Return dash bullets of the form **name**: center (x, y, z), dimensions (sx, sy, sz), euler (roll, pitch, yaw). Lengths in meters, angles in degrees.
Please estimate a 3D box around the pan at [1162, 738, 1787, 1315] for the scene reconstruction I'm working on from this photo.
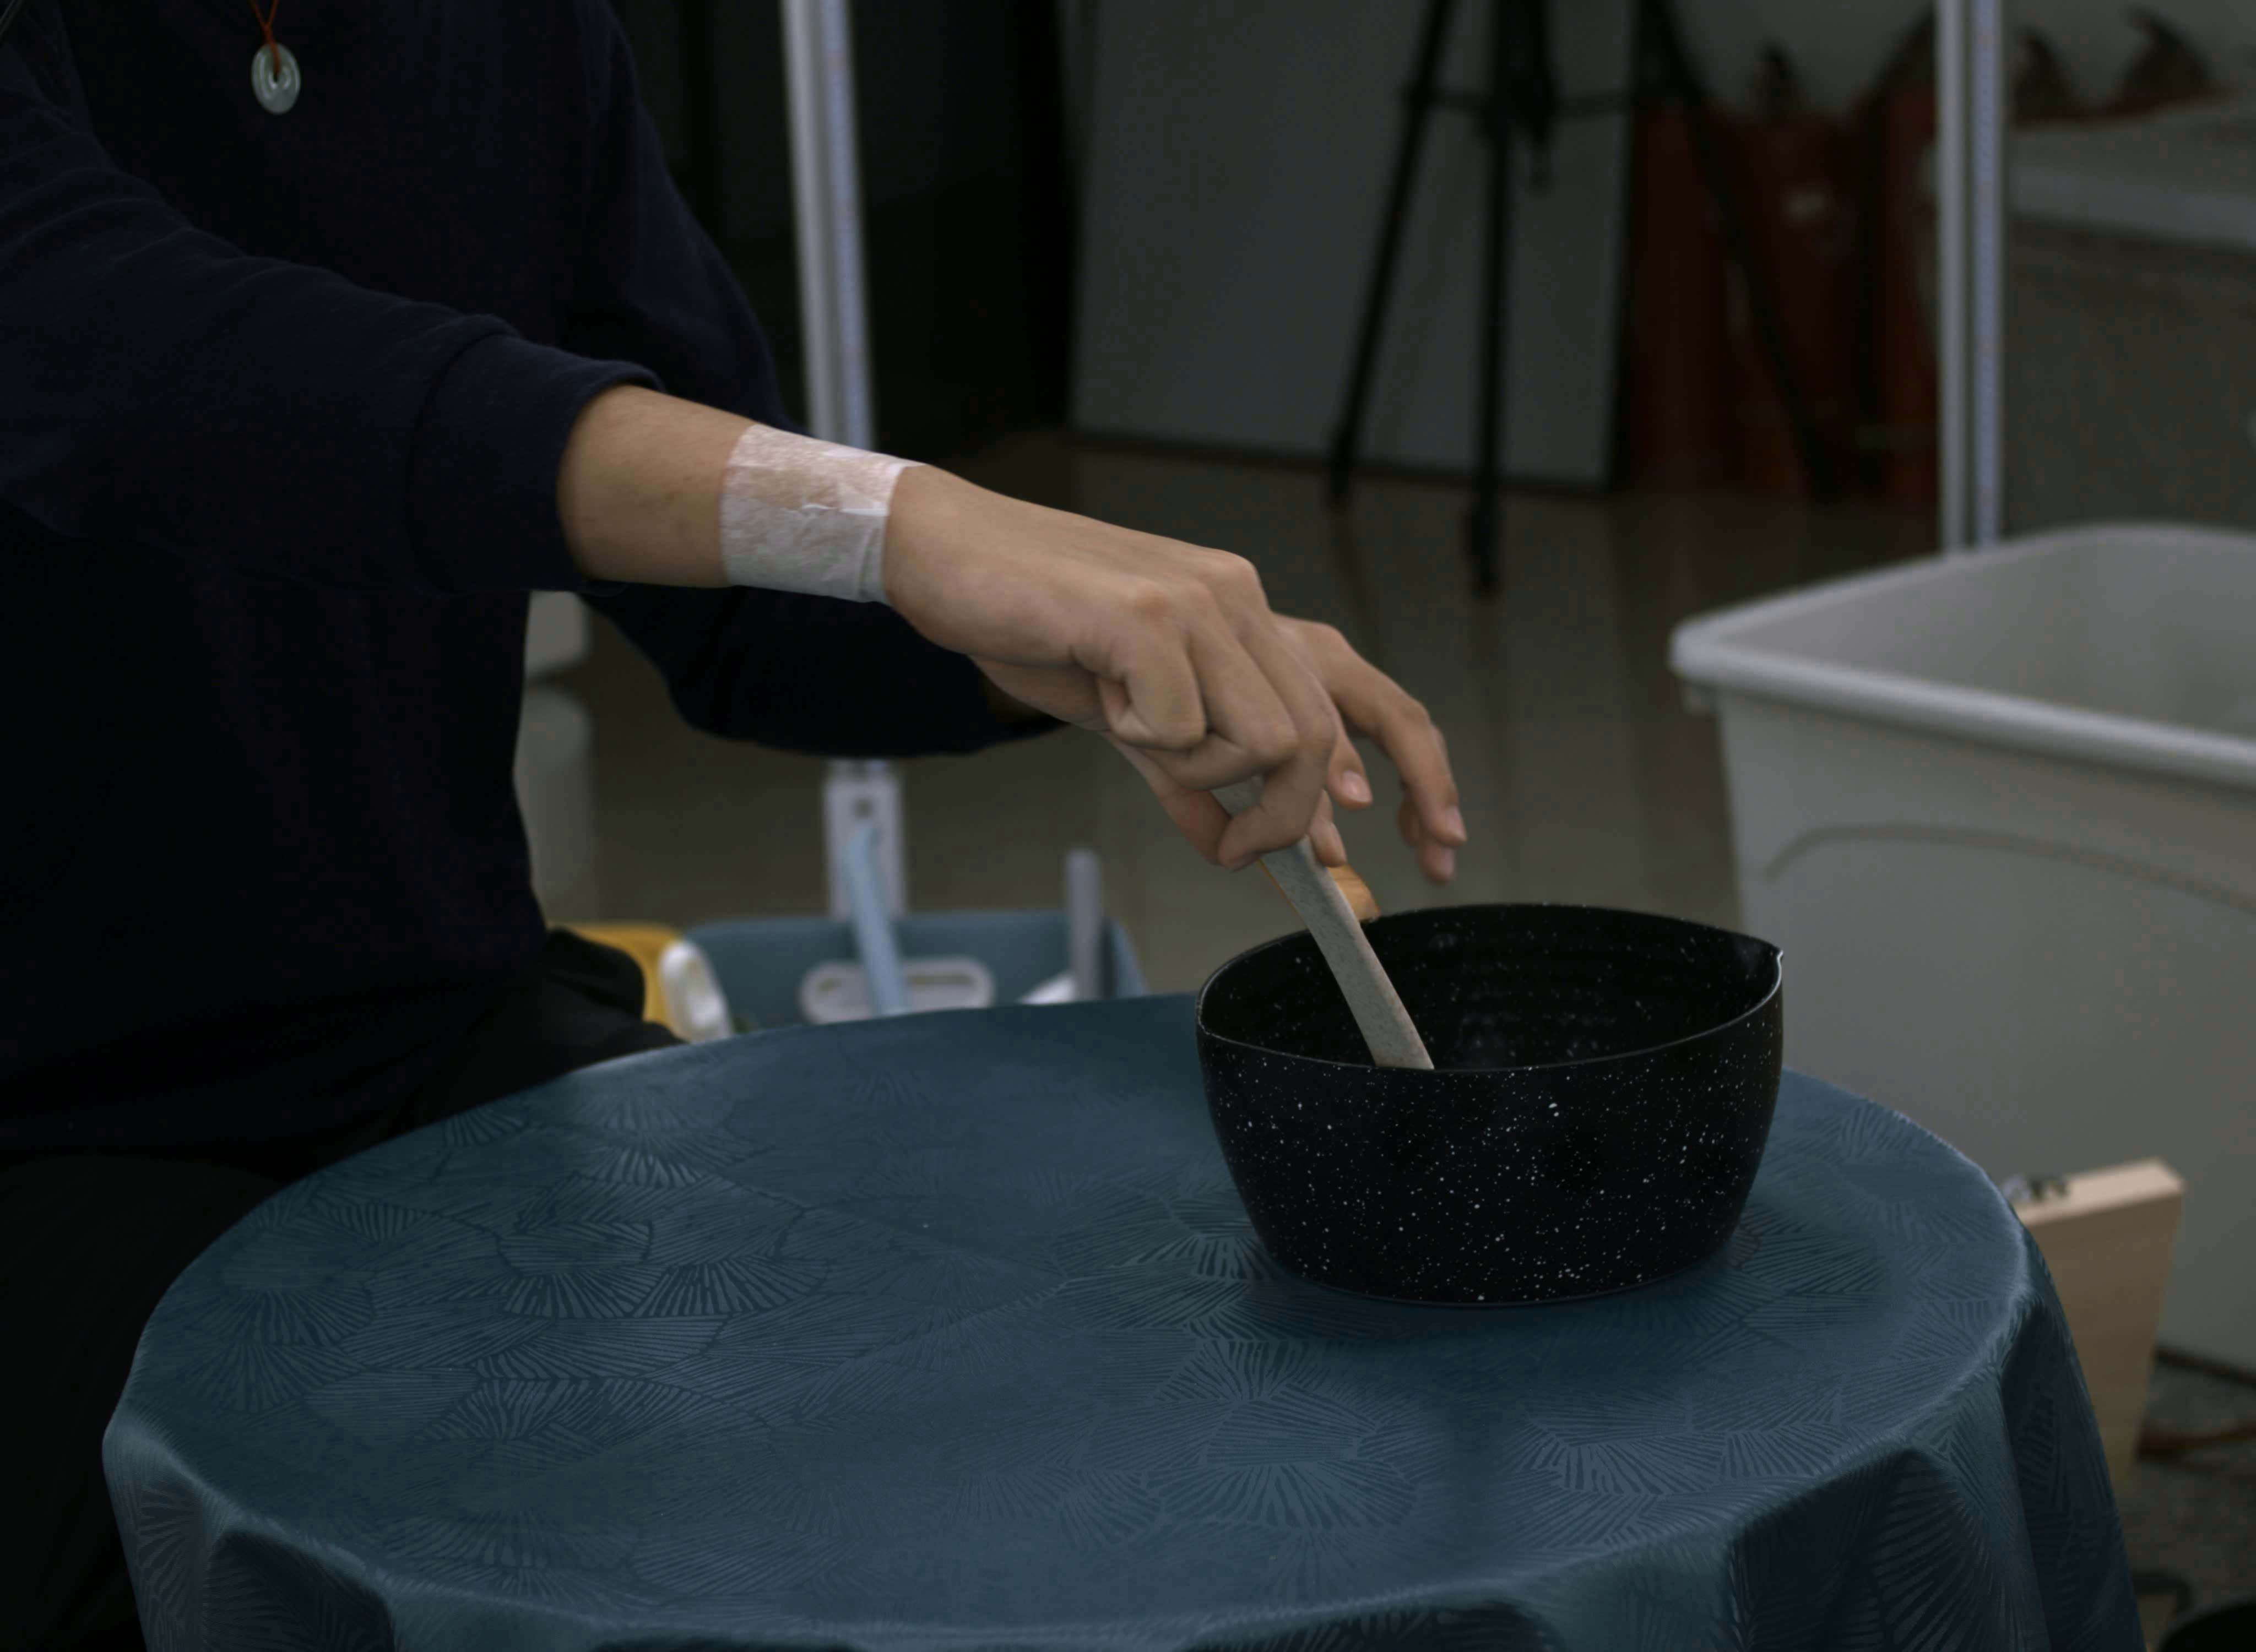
- **pan**: center (0.089, 0.060, 1.765), dimensions (0.203, 0.109, 0.346), euler (-9, 16, -17)

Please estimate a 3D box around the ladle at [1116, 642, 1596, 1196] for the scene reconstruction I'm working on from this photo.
- **ladle**: center (0.071, 0.019, 1.587), dimensions (0.090, 0.273, 0.069), euler (16, 57, 42)
